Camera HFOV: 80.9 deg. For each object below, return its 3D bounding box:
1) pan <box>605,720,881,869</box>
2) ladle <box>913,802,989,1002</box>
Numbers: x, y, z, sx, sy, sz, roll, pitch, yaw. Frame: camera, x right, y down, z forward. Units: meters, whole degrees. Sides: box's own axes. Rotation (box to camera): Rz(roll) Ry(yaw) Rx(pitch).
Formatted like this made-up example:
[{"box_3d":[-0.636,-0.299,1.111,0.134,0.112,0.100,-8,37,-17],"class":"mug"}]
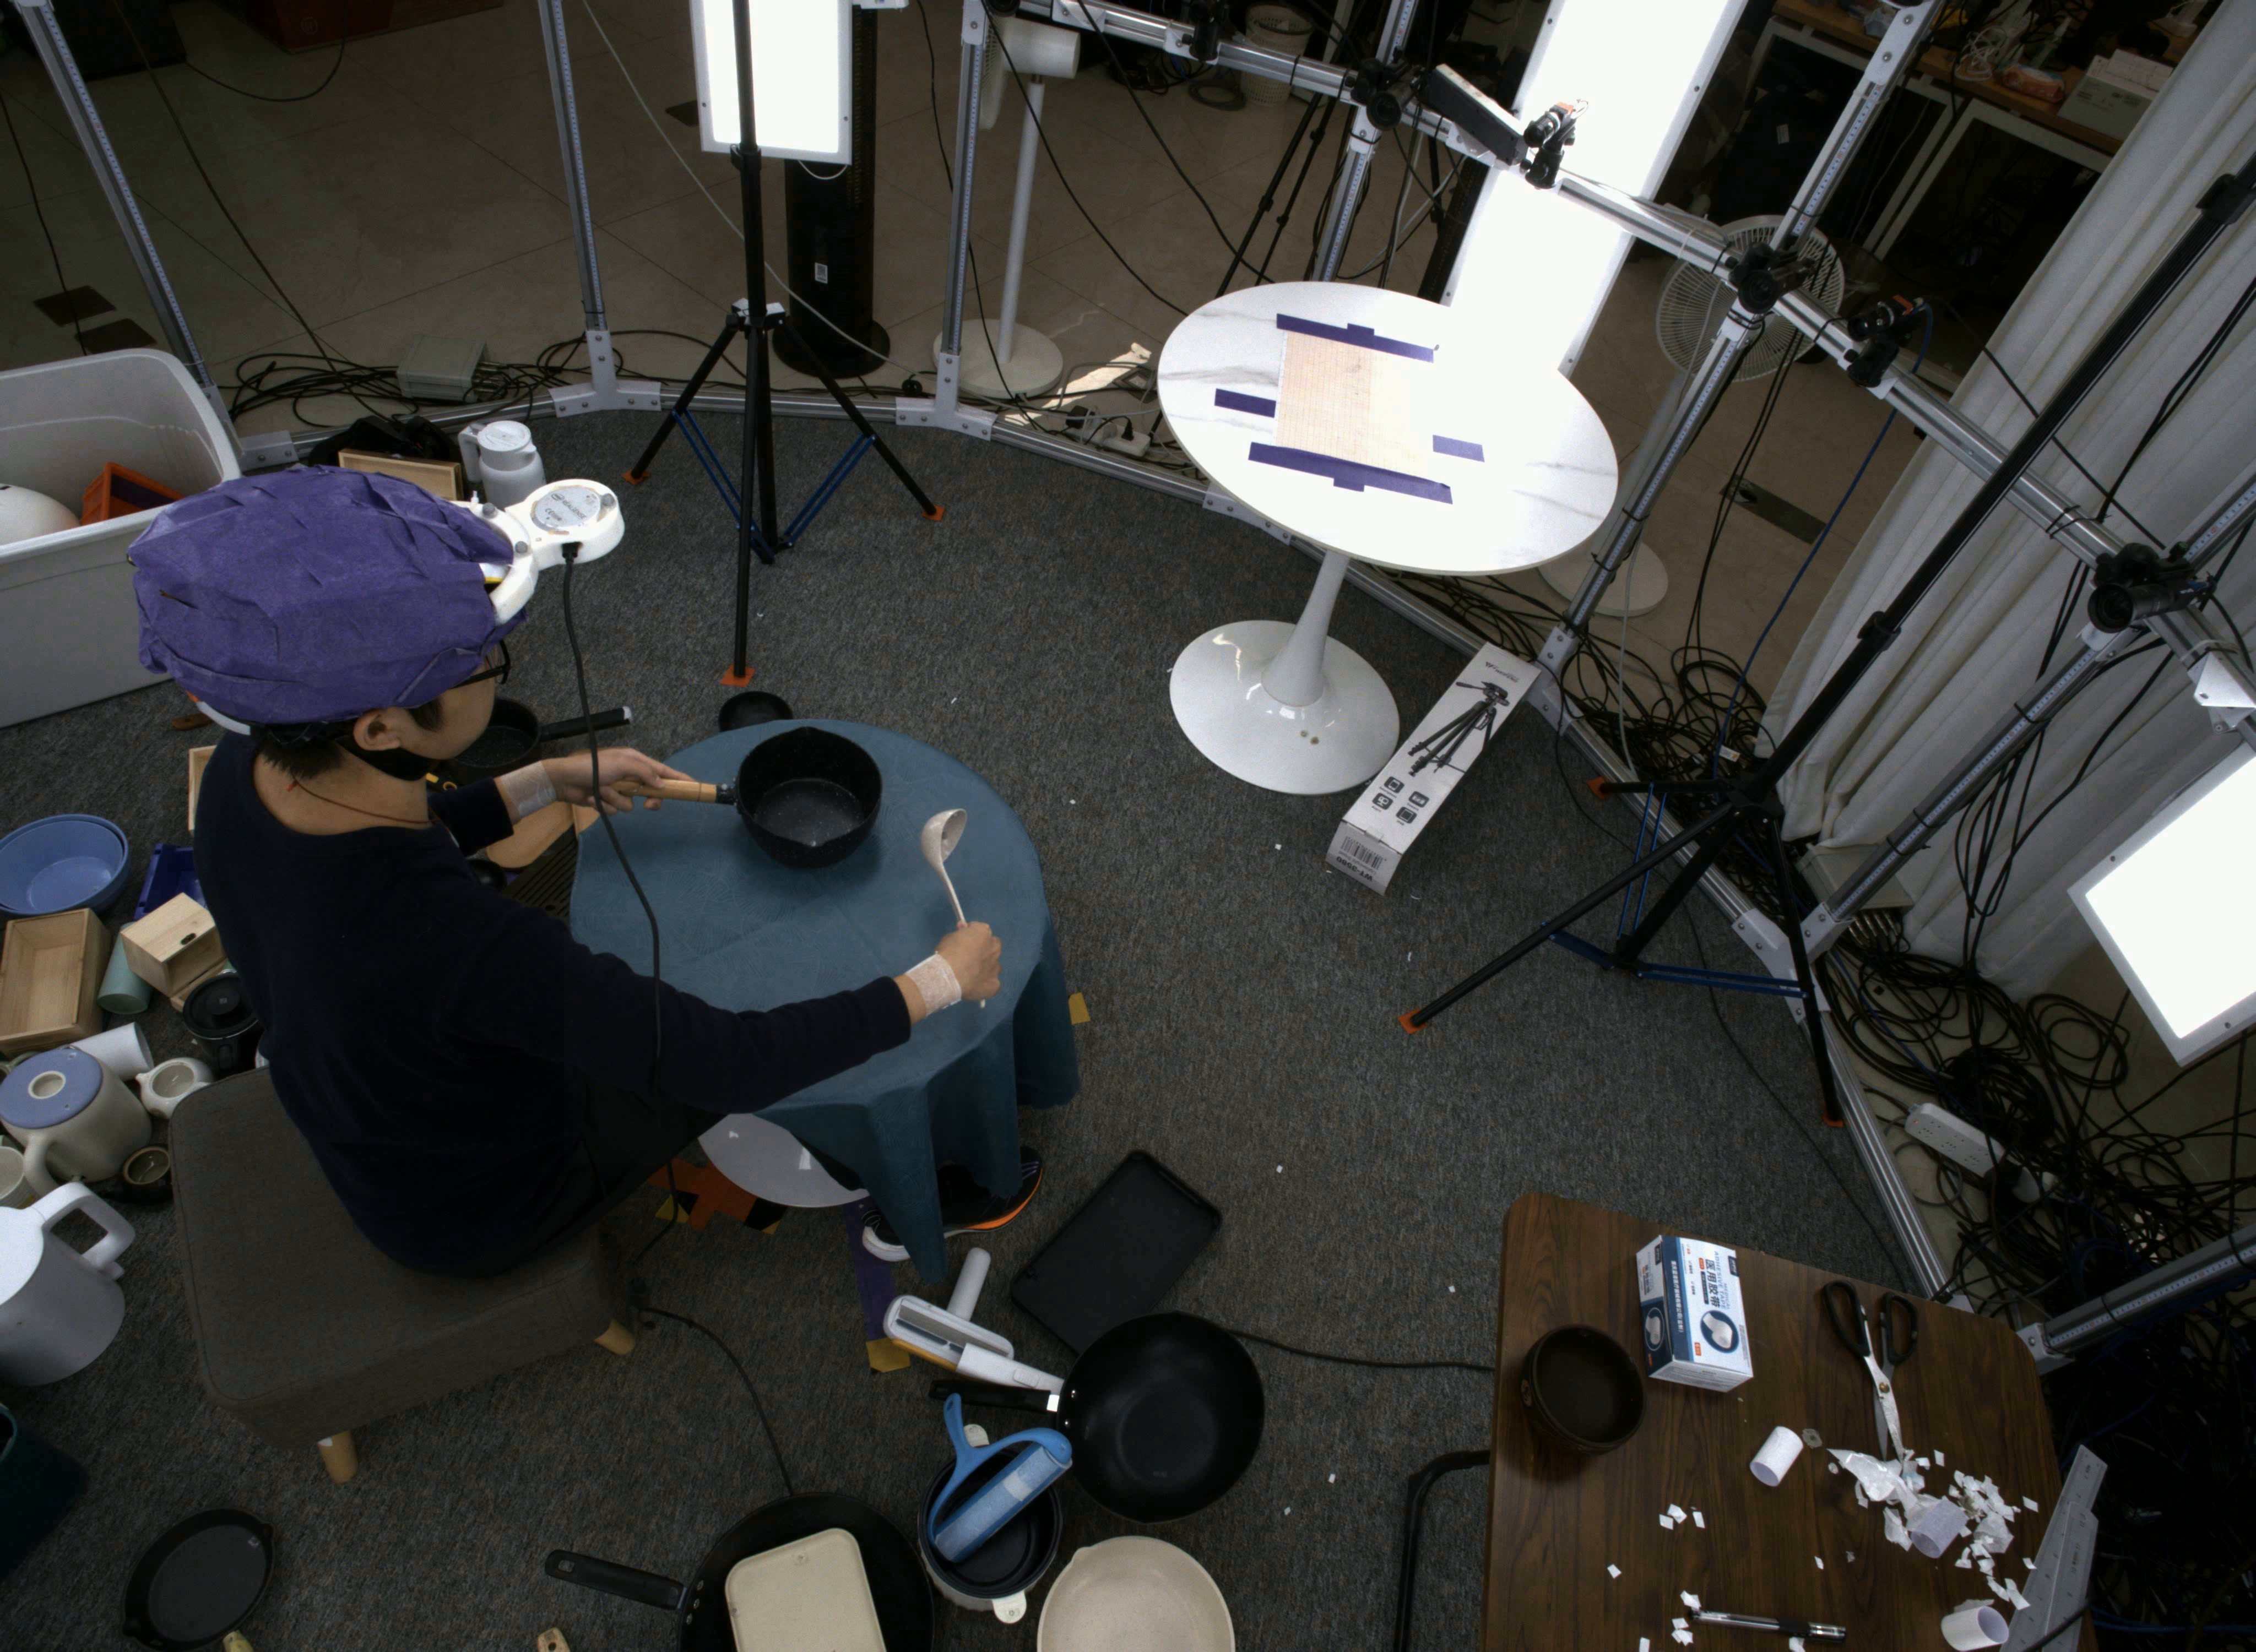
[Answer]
[{"box_3d":[-0.489,-0.035,1.647,0.345,0.110,0.203,-2,55,-20],"class":"pan"},{"box_3d":[-0.191,0.088,1.571,0.069,0.092,0.267,-19,57,-18],"class":"ladle"}]
